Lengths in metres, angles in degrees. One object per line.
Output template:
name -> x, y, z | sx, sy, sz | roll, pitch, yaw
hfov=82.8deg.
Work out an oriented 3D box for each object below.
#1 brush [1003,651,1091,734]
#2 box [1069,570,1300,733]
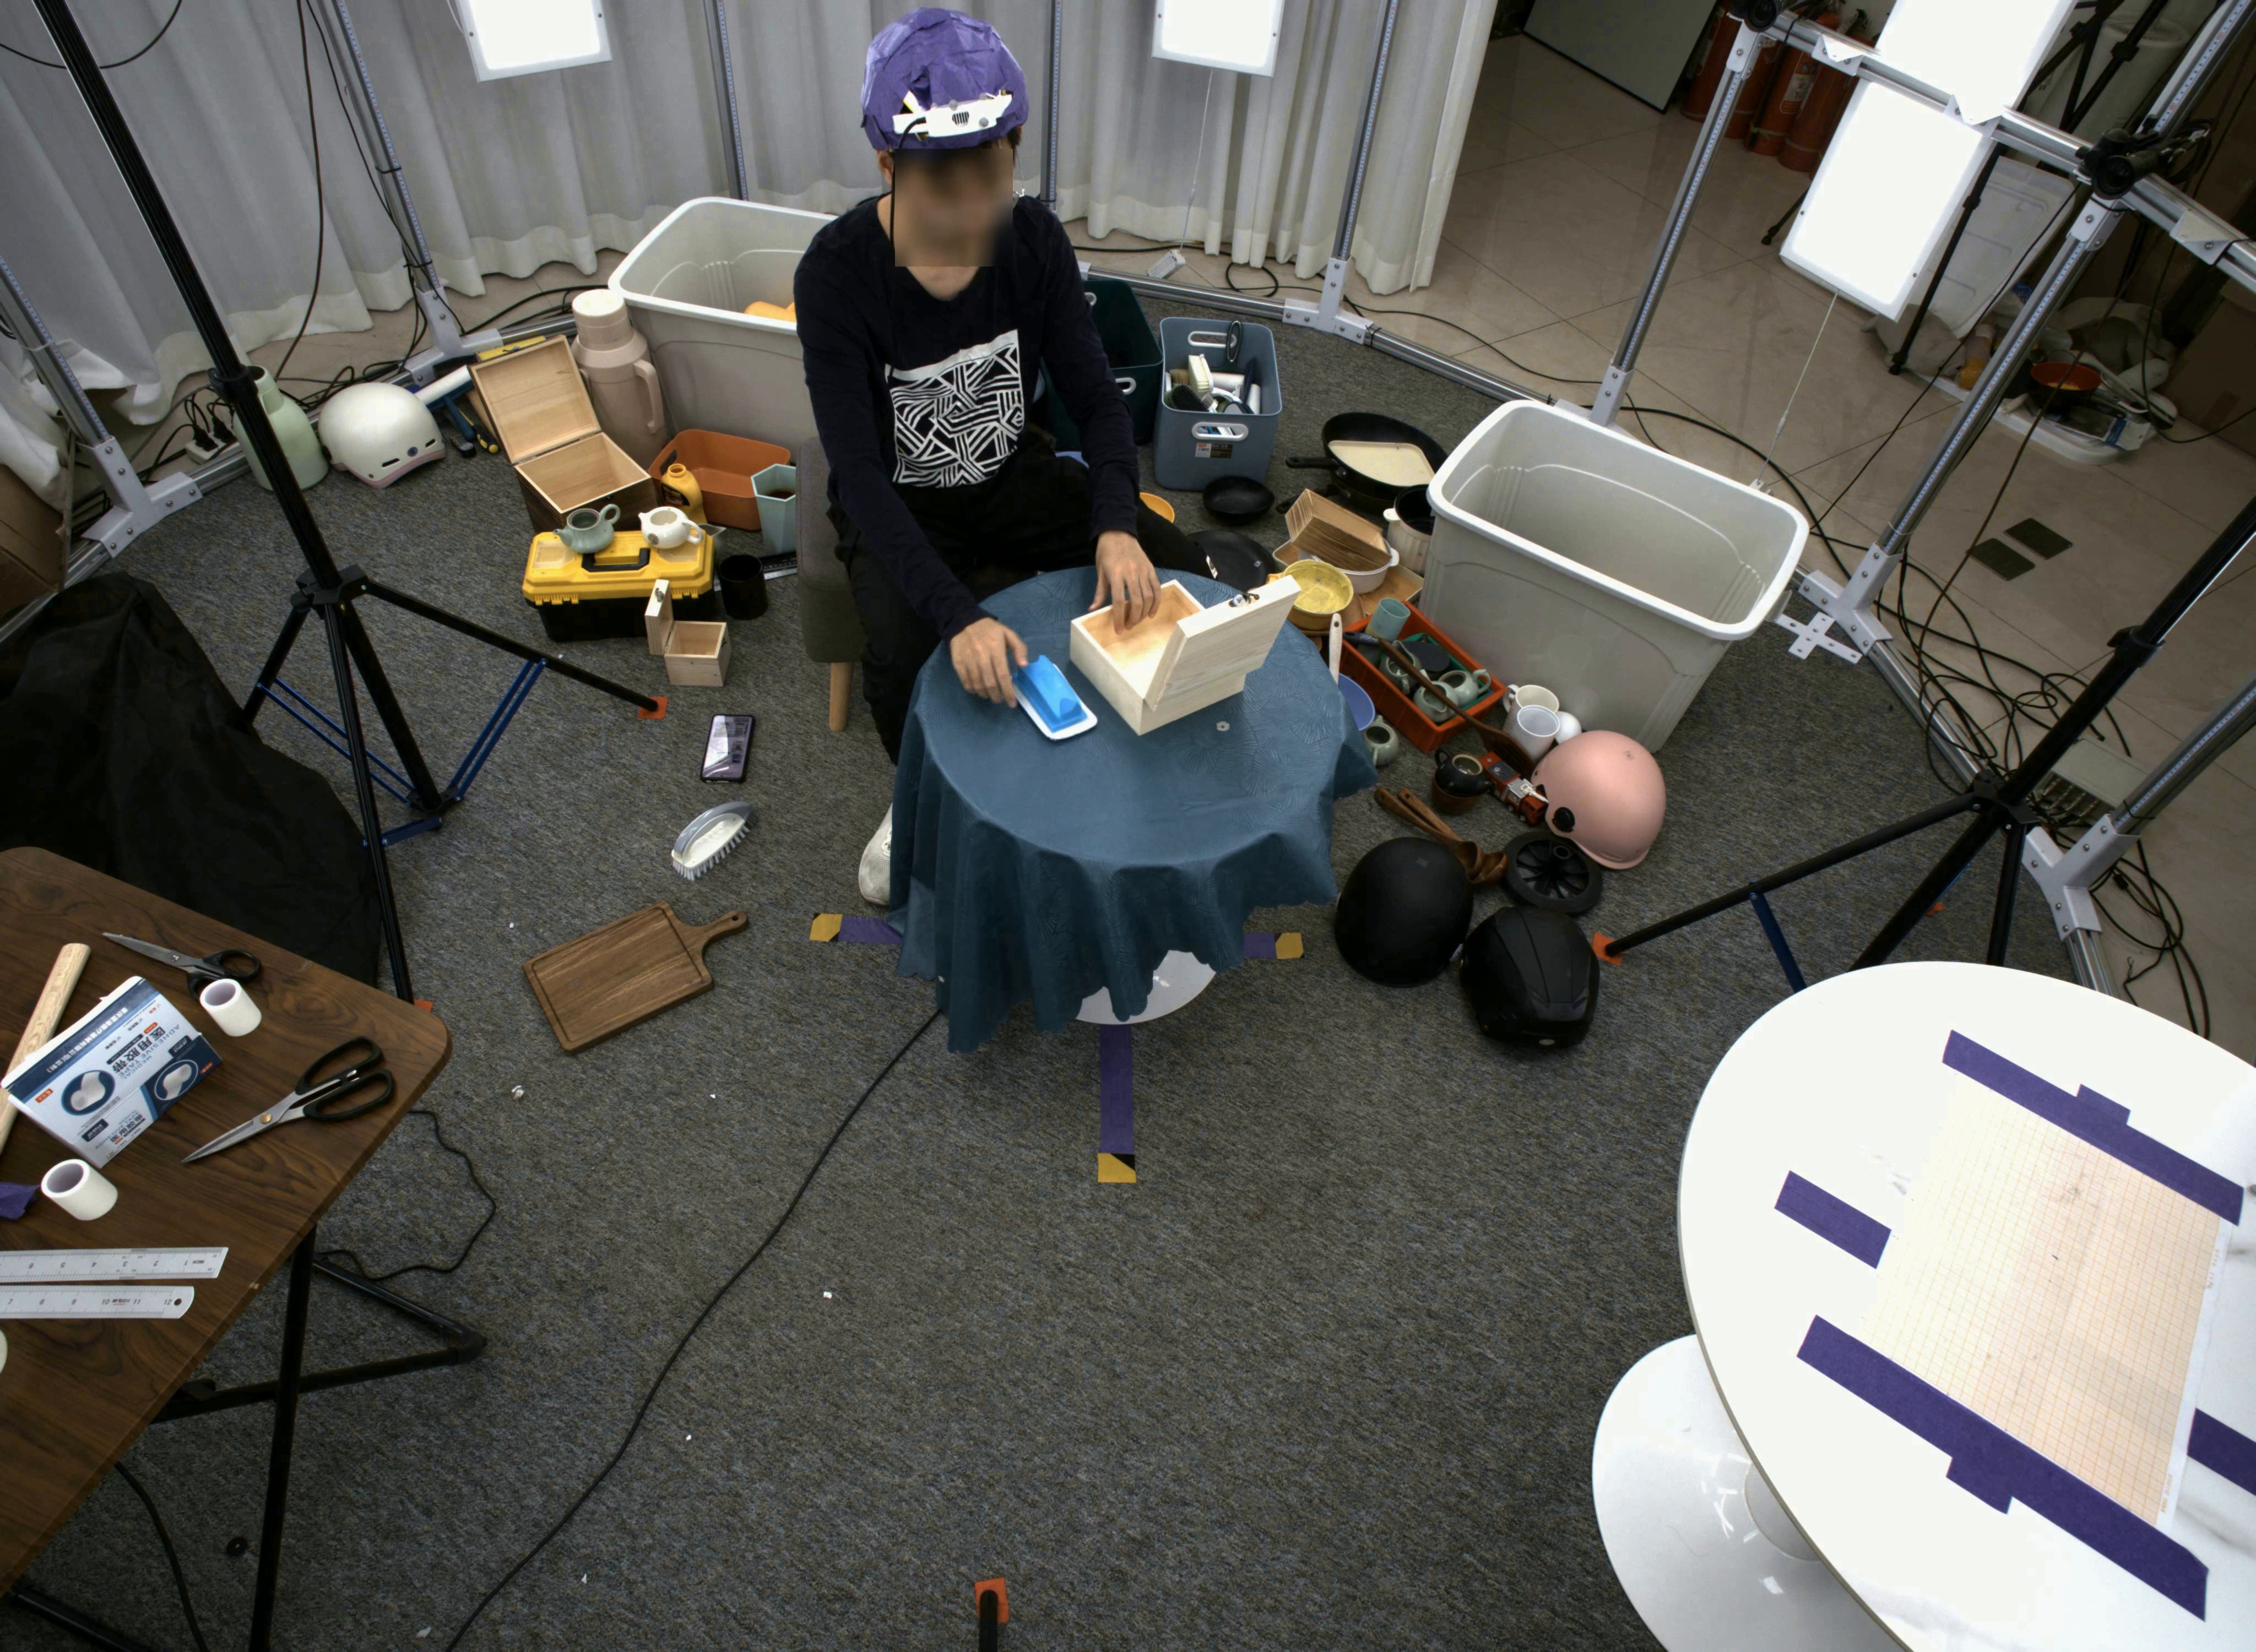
brush -> -0.111, -0.193, 1.788 | 0.084, 0.054, 0.147 | -19, 54, -23
box -> 0.064, -0.278, 1.748 | 0.182, 0.247, 0.270 | -26, 55, -24
